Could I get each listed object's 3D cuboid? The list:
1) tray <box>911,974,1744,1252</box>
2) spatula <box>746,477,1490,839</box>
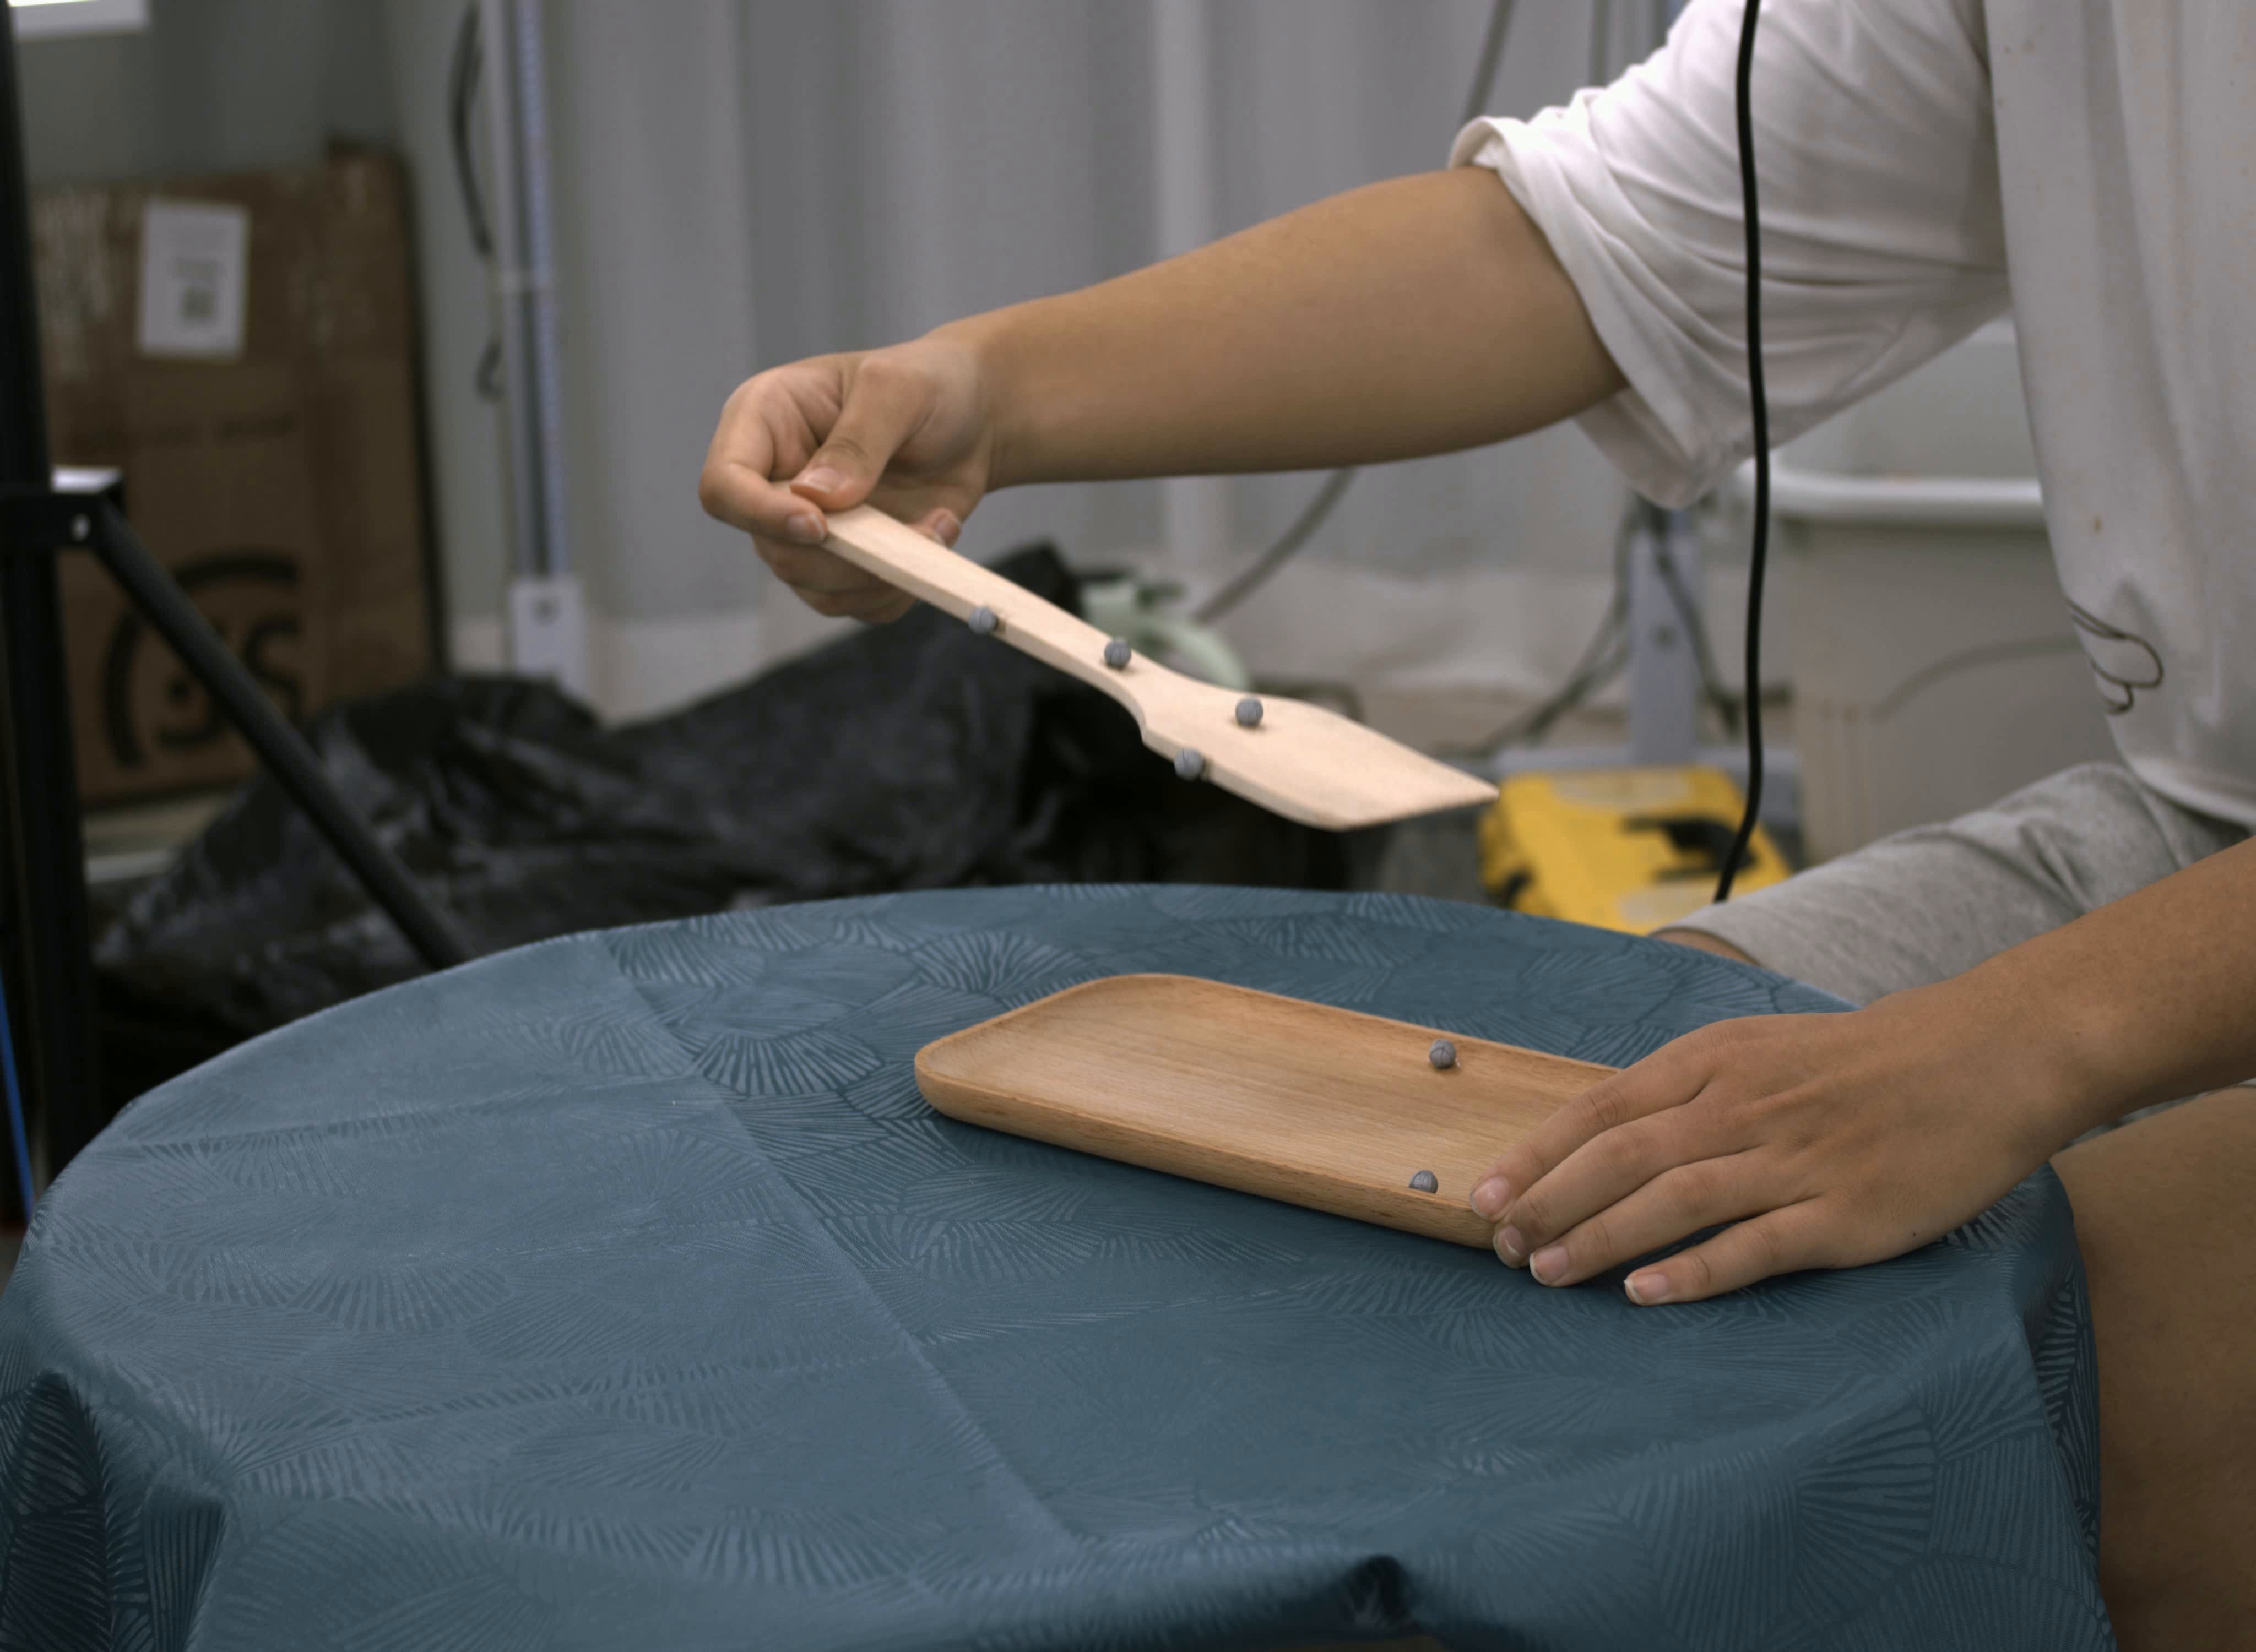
[{"bbox_3d":[0.058,0.085,1.606,0.256,0.023,0.127,10,18,41],"label":"tray"},{"bbox_3d":[-0.017,-0.054,1.620,0.070,0.010,0.300,-12,30,-42],"label":"spatula"}]
